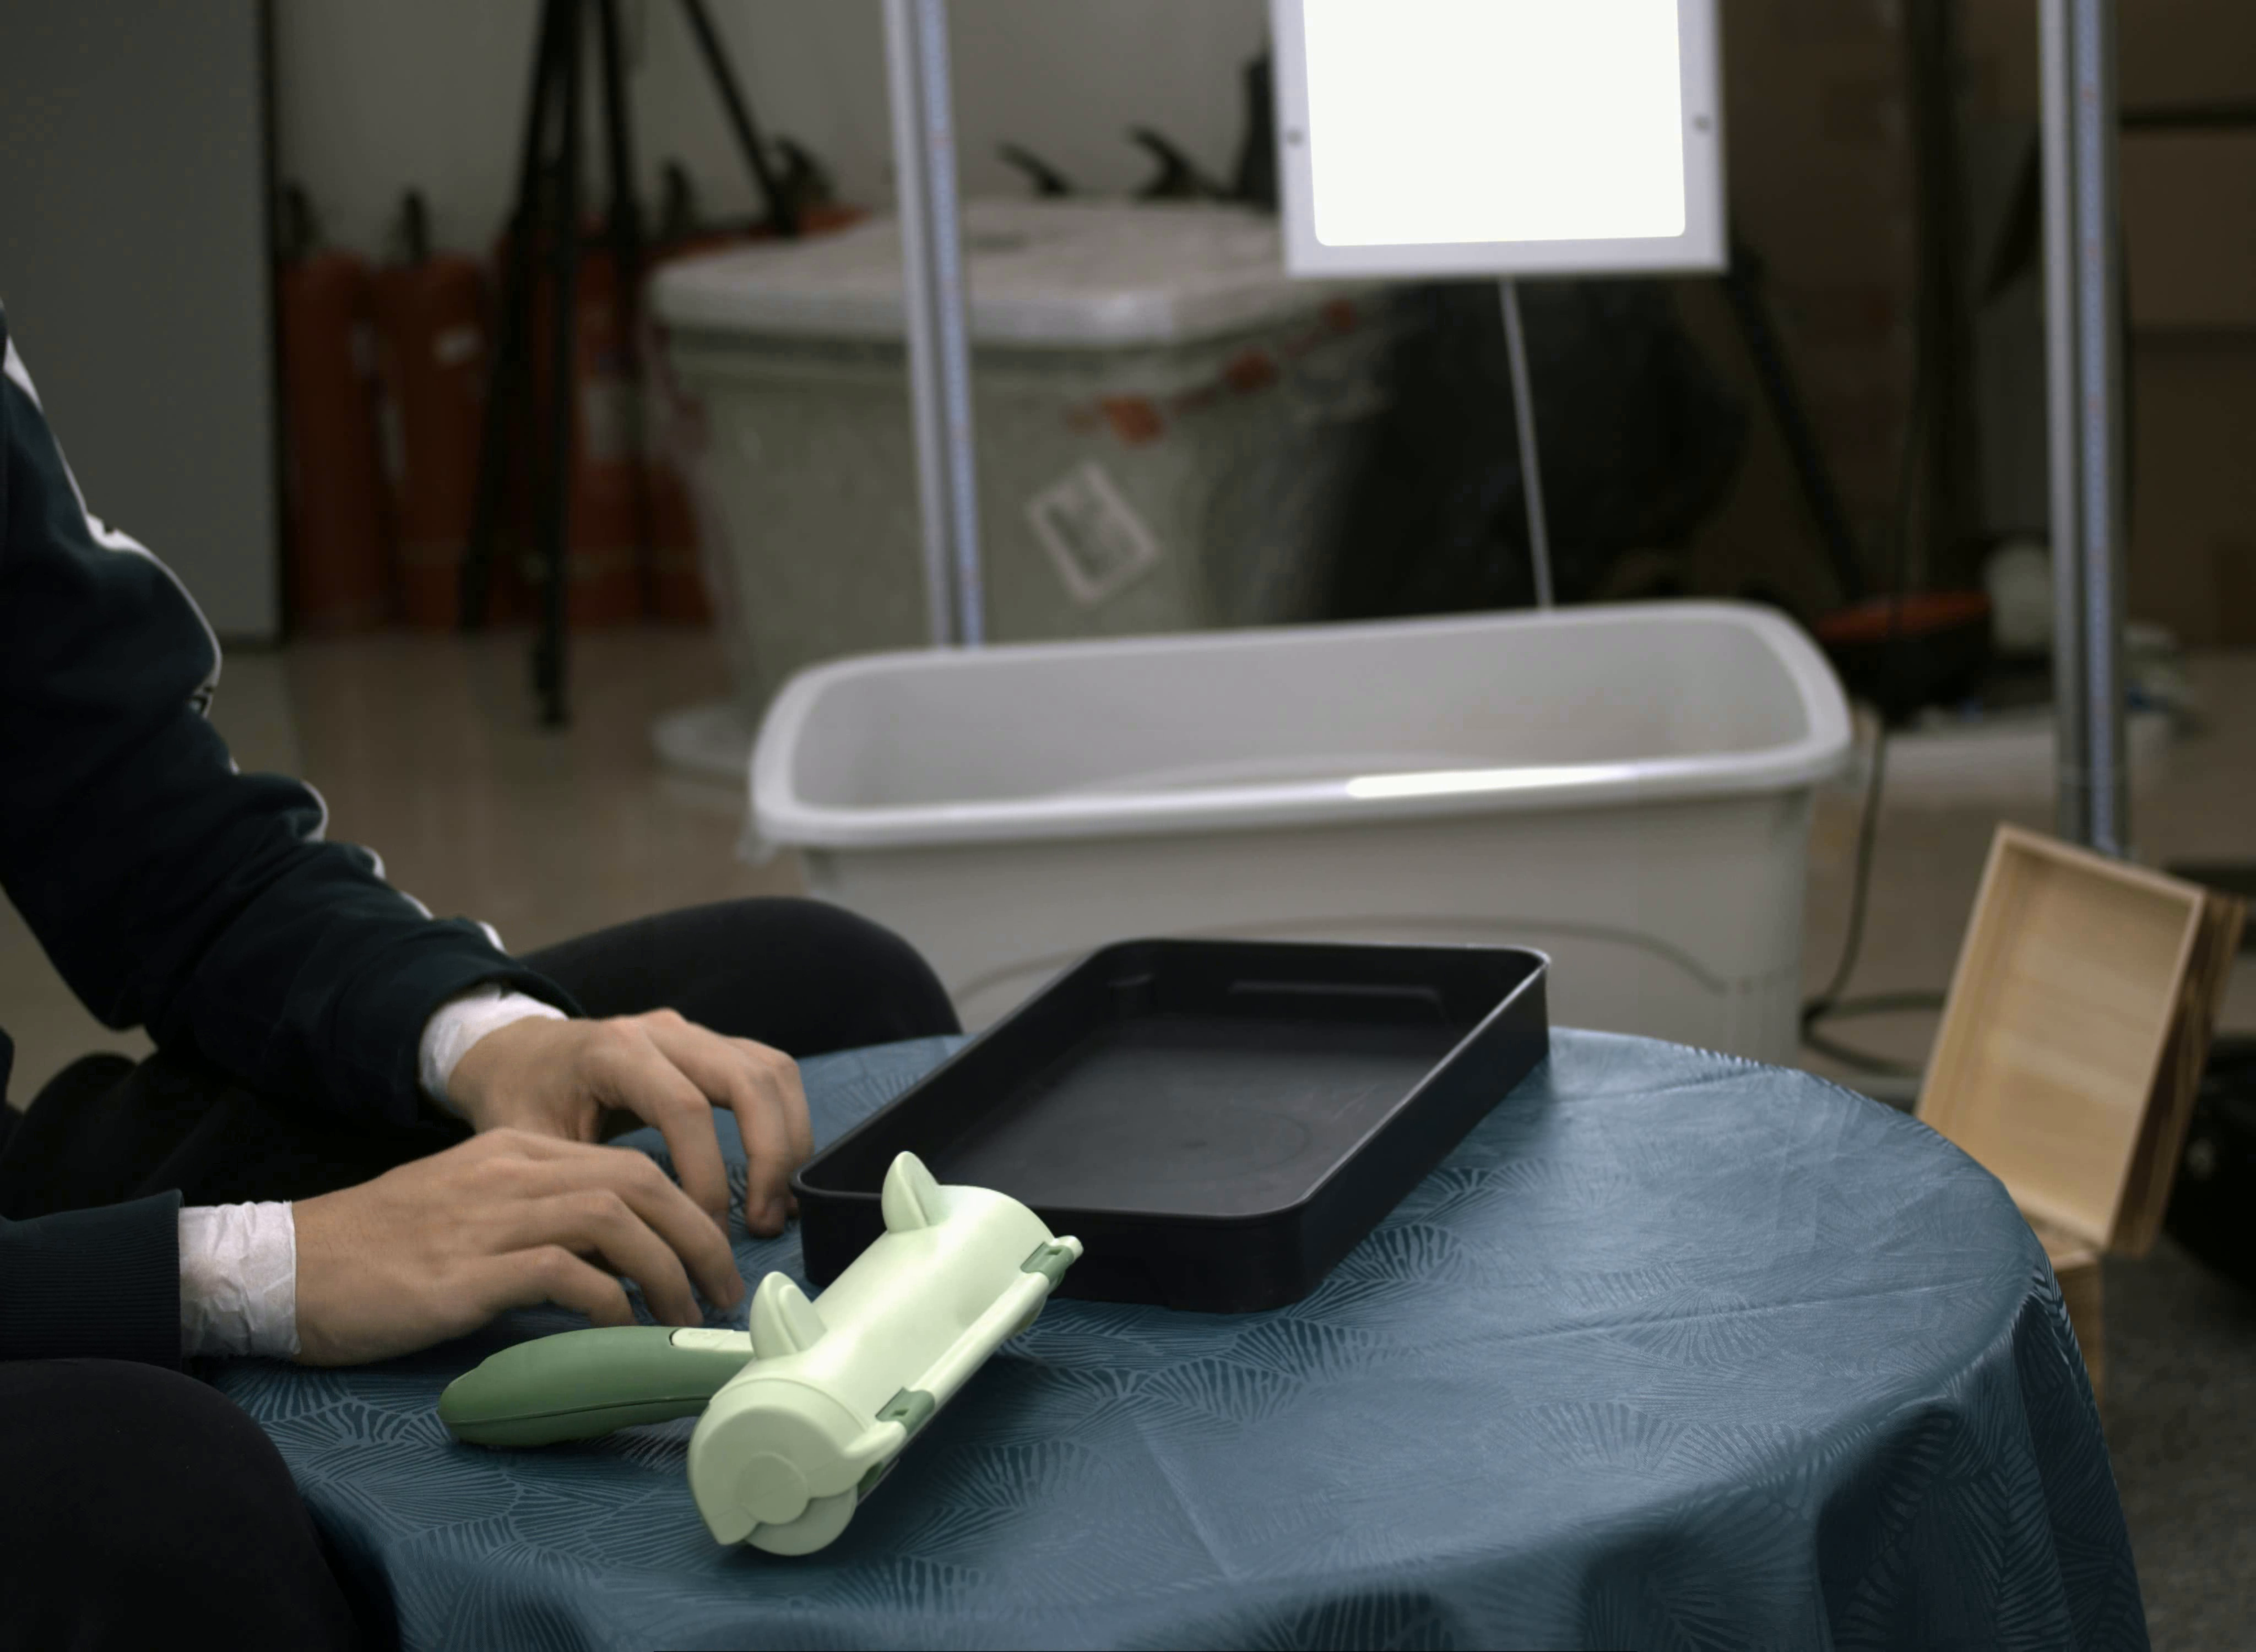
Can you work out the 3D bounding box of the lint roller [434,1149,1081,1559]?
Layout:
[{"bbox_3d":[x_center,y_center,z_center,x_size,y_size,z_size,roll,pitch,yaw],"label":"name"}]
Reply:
[{"bbox_3d":[-0.127,0.152,1.671,0.185,0.082,0.195,3,16,18],"label":"lint roller"}]

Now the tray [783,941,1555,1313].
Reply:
[{"bbox_3d":[0.023,0.100,1.920,0.187,0.037,0.312,1,15,23],"label":"tray"}]
